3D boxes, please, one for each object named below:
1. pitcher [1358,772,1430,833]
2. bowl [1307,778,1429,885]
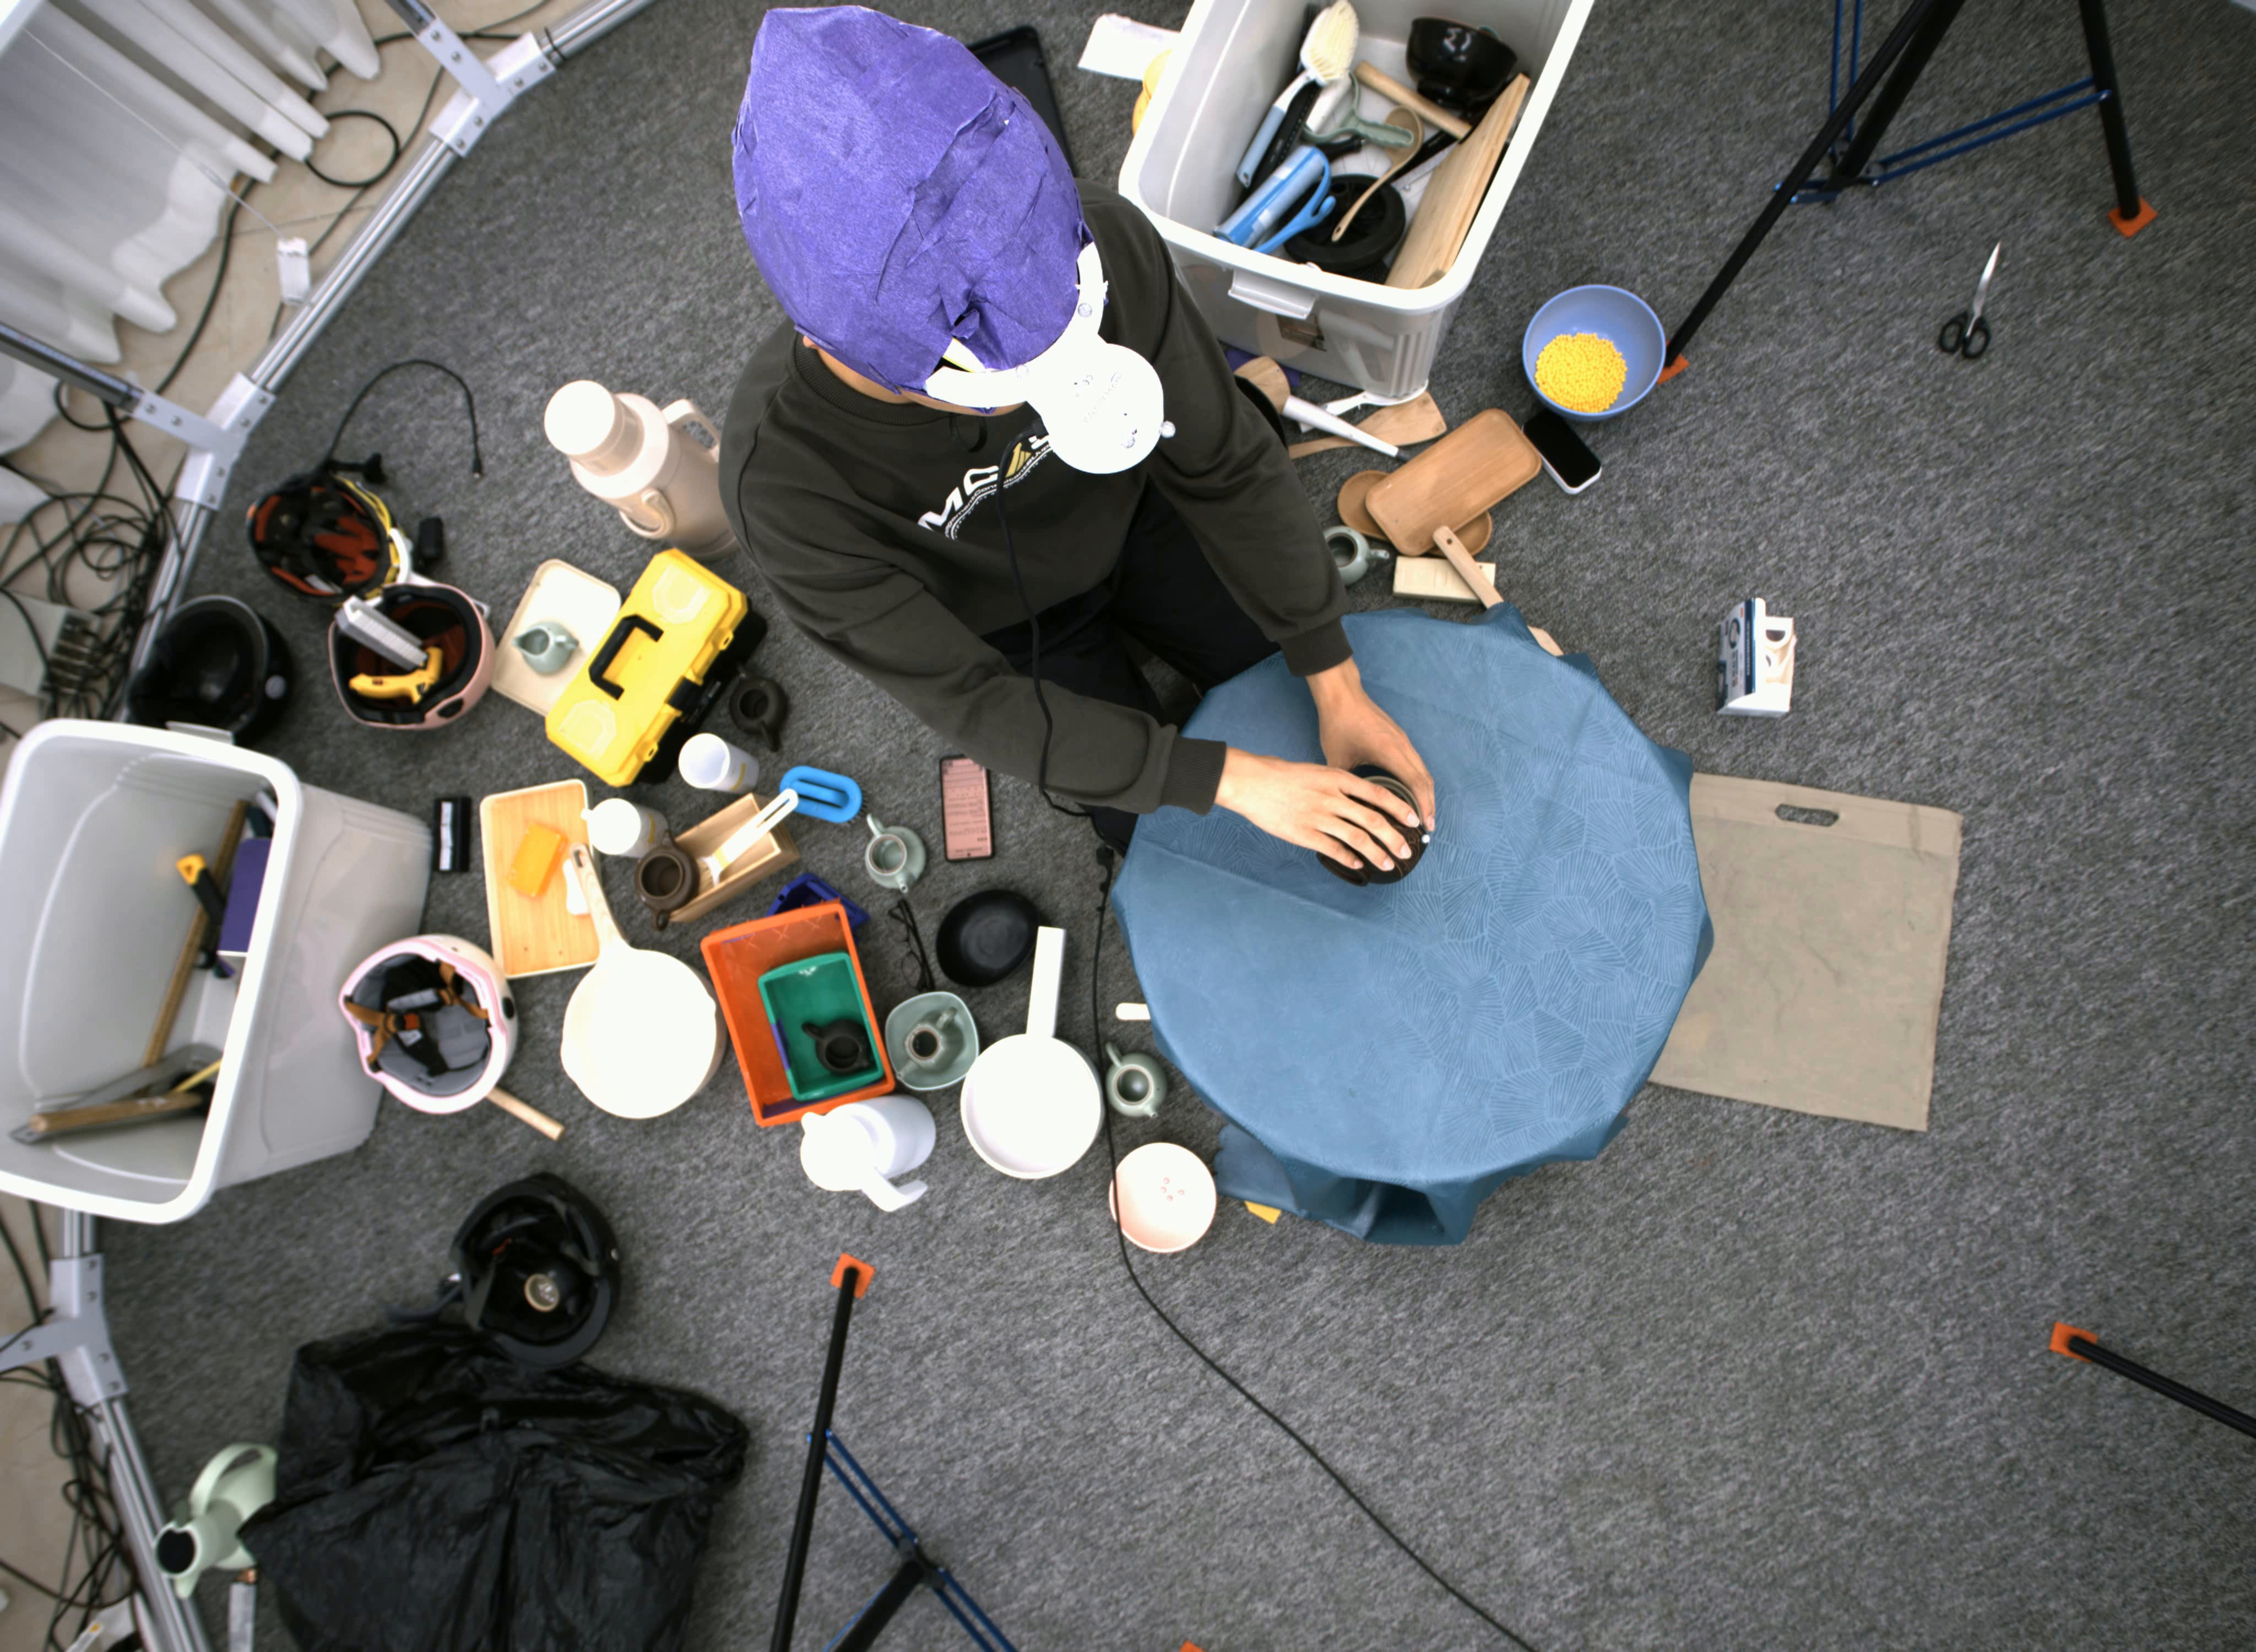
[{"bbox_3d":[0.268,-0.015,1.426,0.097,0.070,0.083,-37,86,25],"label":"pitcher"},{"bbox_3d":[0.226,0.013,1.346,0.118,0.119,0.069,30,79,11],"label":"bowl"}]
